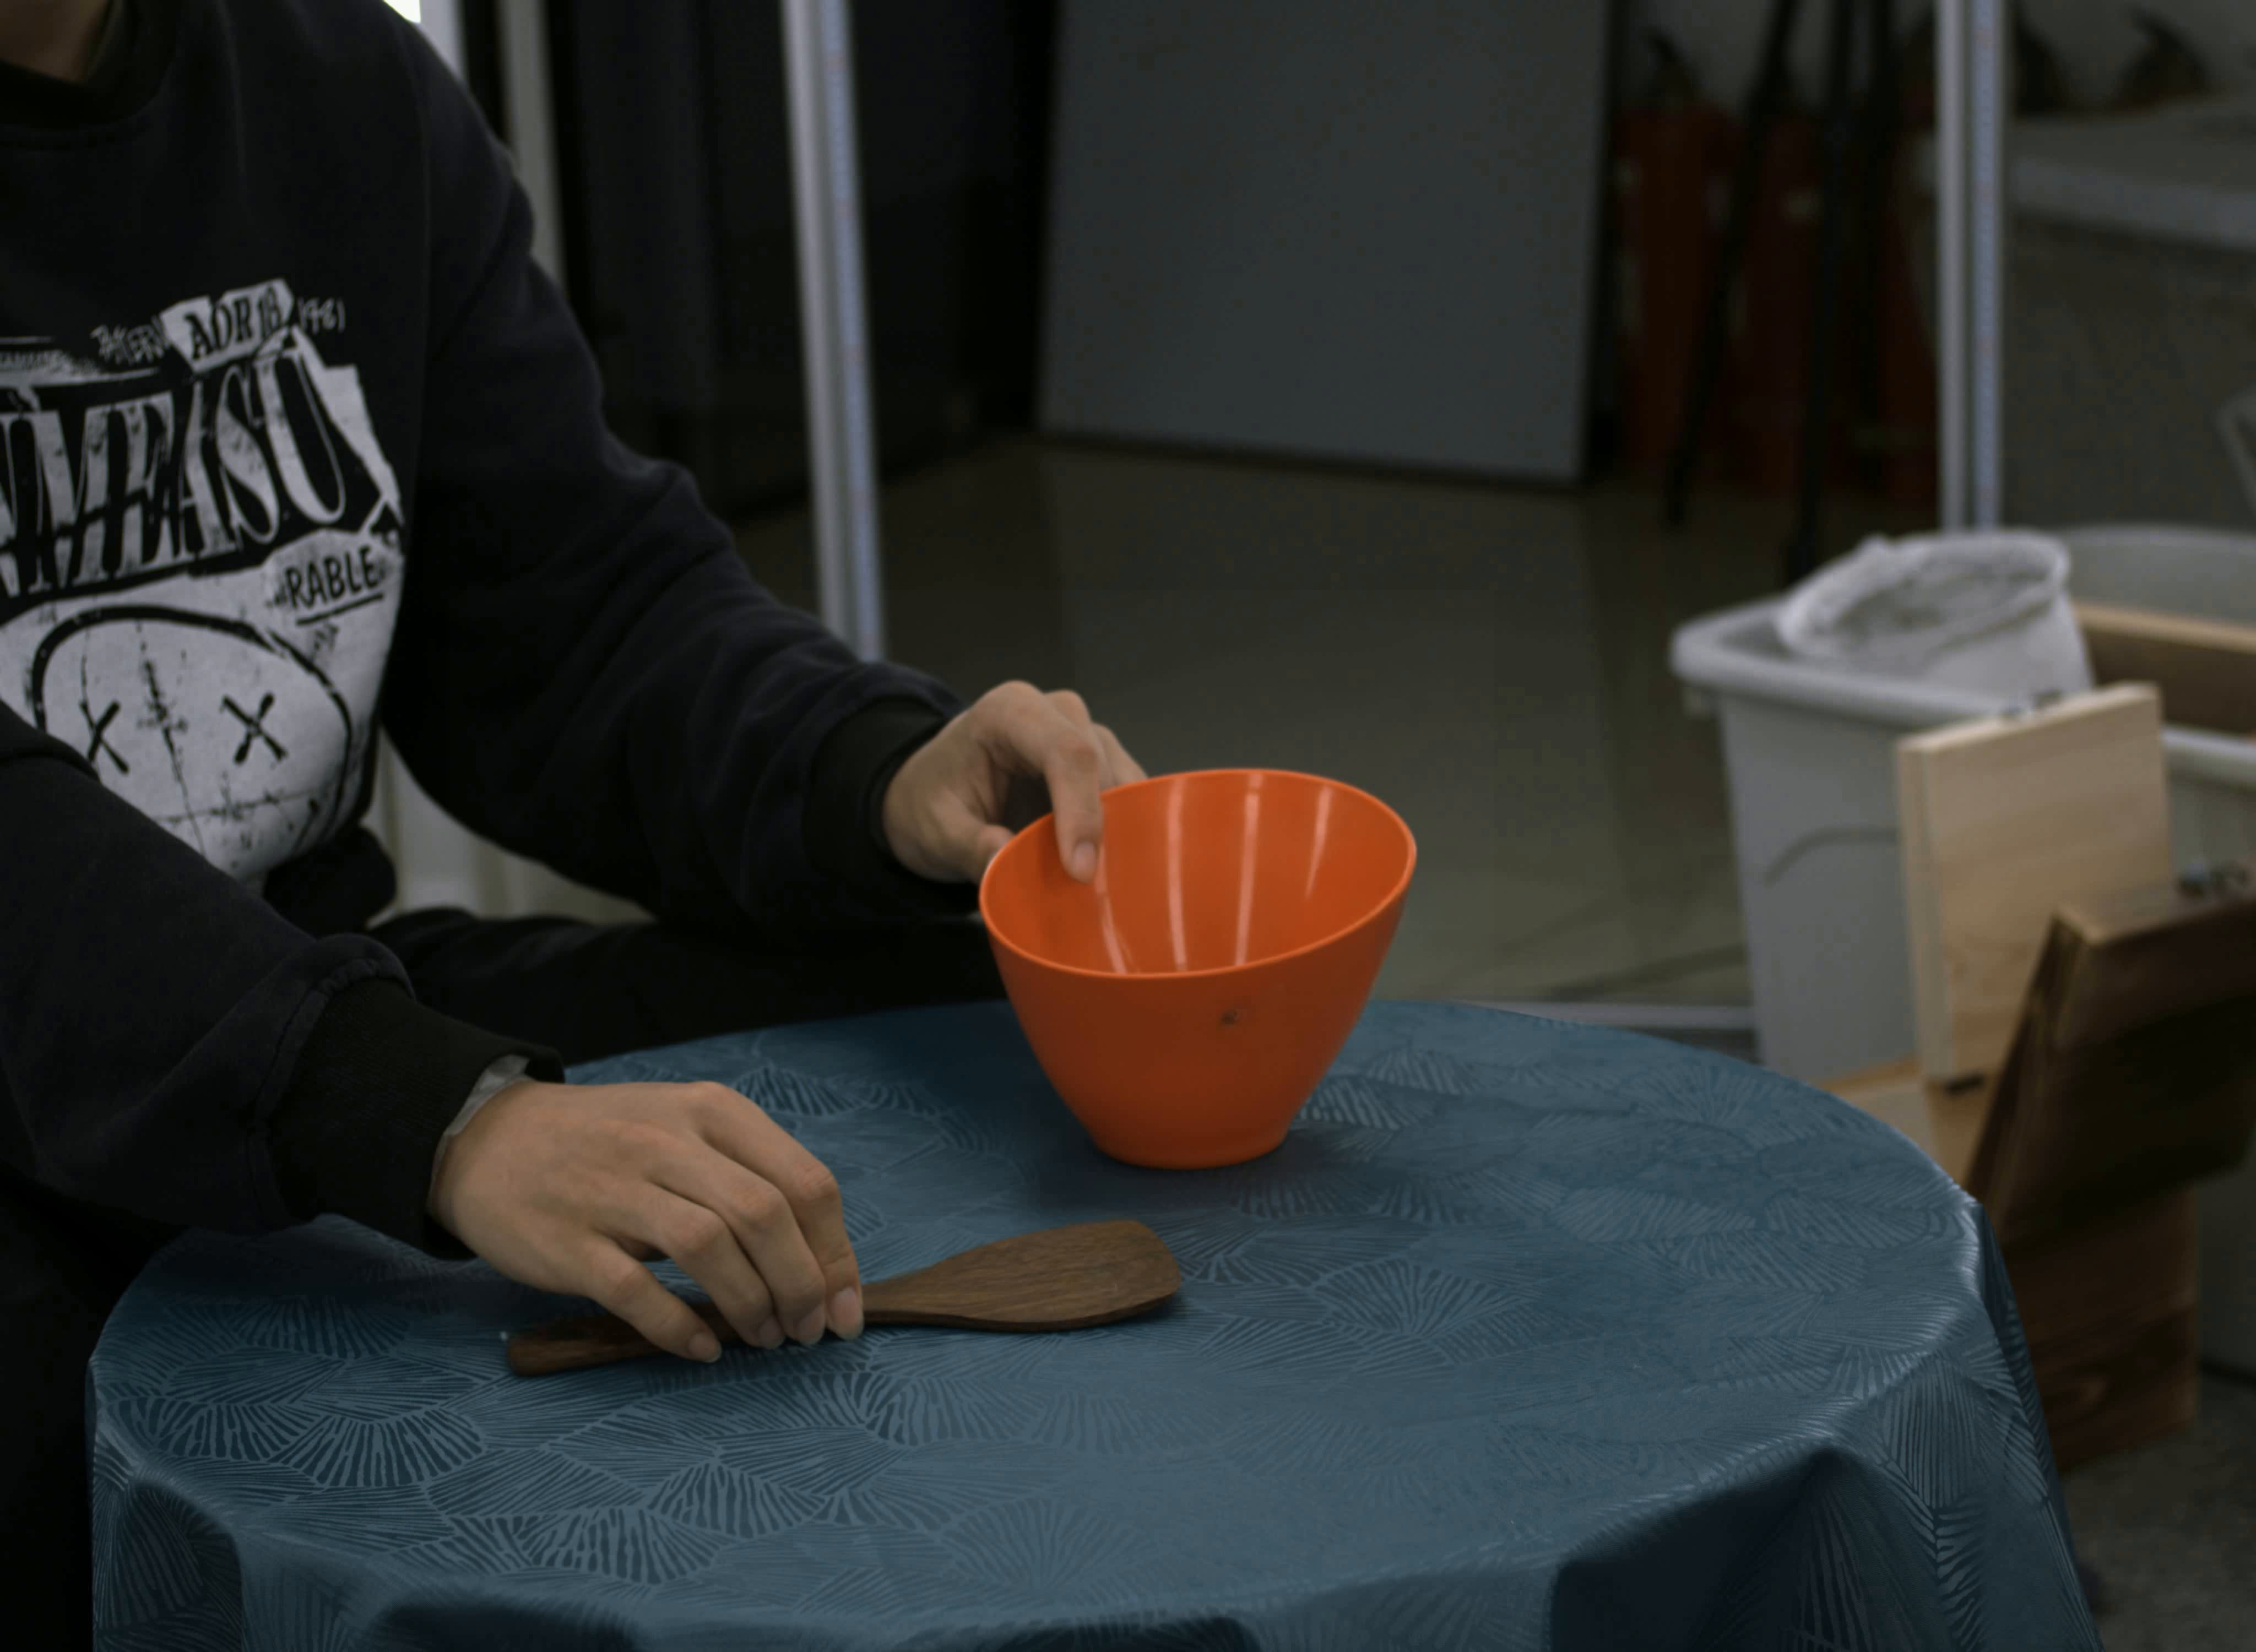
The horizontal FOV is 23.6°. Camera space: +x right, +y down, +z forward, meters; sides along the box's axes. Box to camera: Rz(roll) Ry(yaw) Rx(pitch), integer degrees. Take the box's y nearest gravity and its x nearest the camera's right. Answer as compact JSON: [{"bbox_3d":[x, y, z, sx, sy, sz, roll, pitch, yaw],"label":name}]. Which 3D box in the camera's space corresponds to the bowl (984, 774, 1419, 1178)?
[{"bbox_3d":[0.025,0.055,1.811,0.146,0.106,0.148,-2,18,0],"label":"bowl"}]

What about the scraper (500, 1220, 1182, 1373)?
[{"bbox_3d":[-0.088,0.149,1.660,0.207,0.011,0.076,-7,17,-10],"label":"scraper"}]
